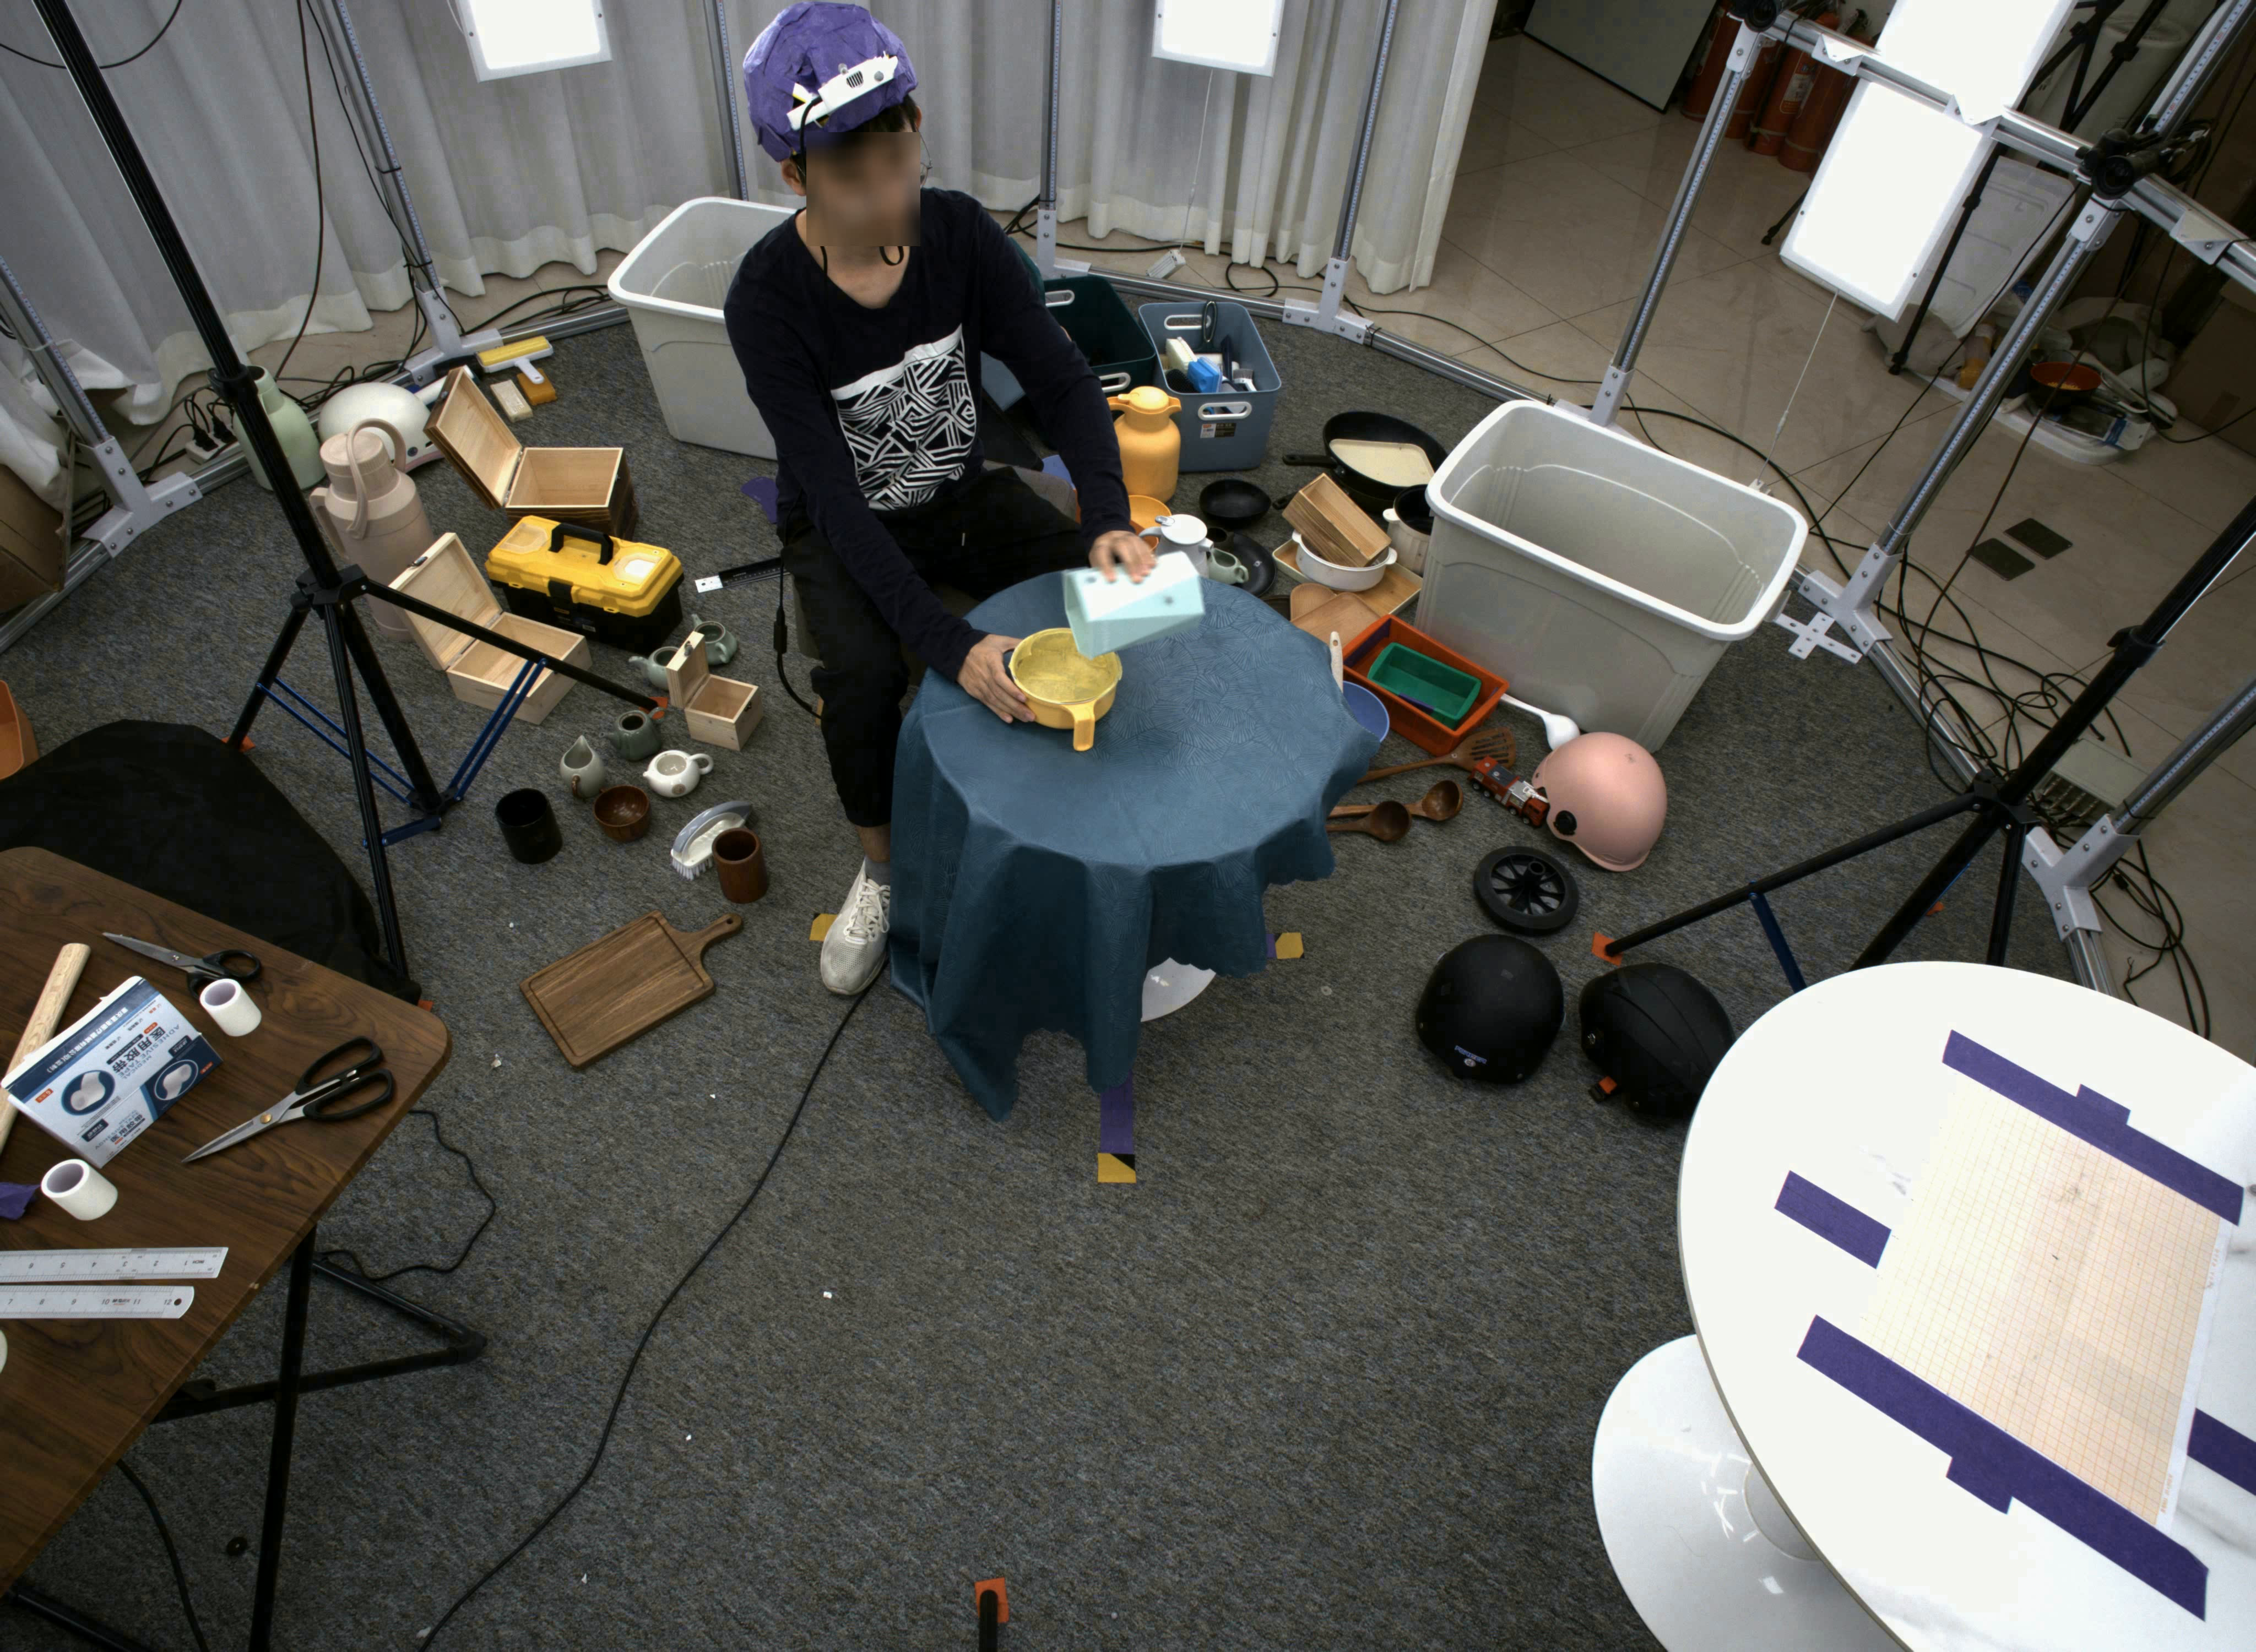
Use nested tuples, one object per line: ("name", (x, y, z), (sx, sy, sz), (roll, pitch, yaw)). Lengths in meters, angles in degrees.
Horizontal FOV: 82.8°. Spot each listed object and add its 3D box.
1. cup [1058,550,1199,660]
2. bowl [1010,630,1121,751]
("cup", (0.002, -0.299, 1.715), (0.163, 0.128, 0.118), (-15, 44, -8))
("bowl", (-0.083, -0.190, 1.785), (0.153, 0.072, 0.183), (-14, 49, -15))
